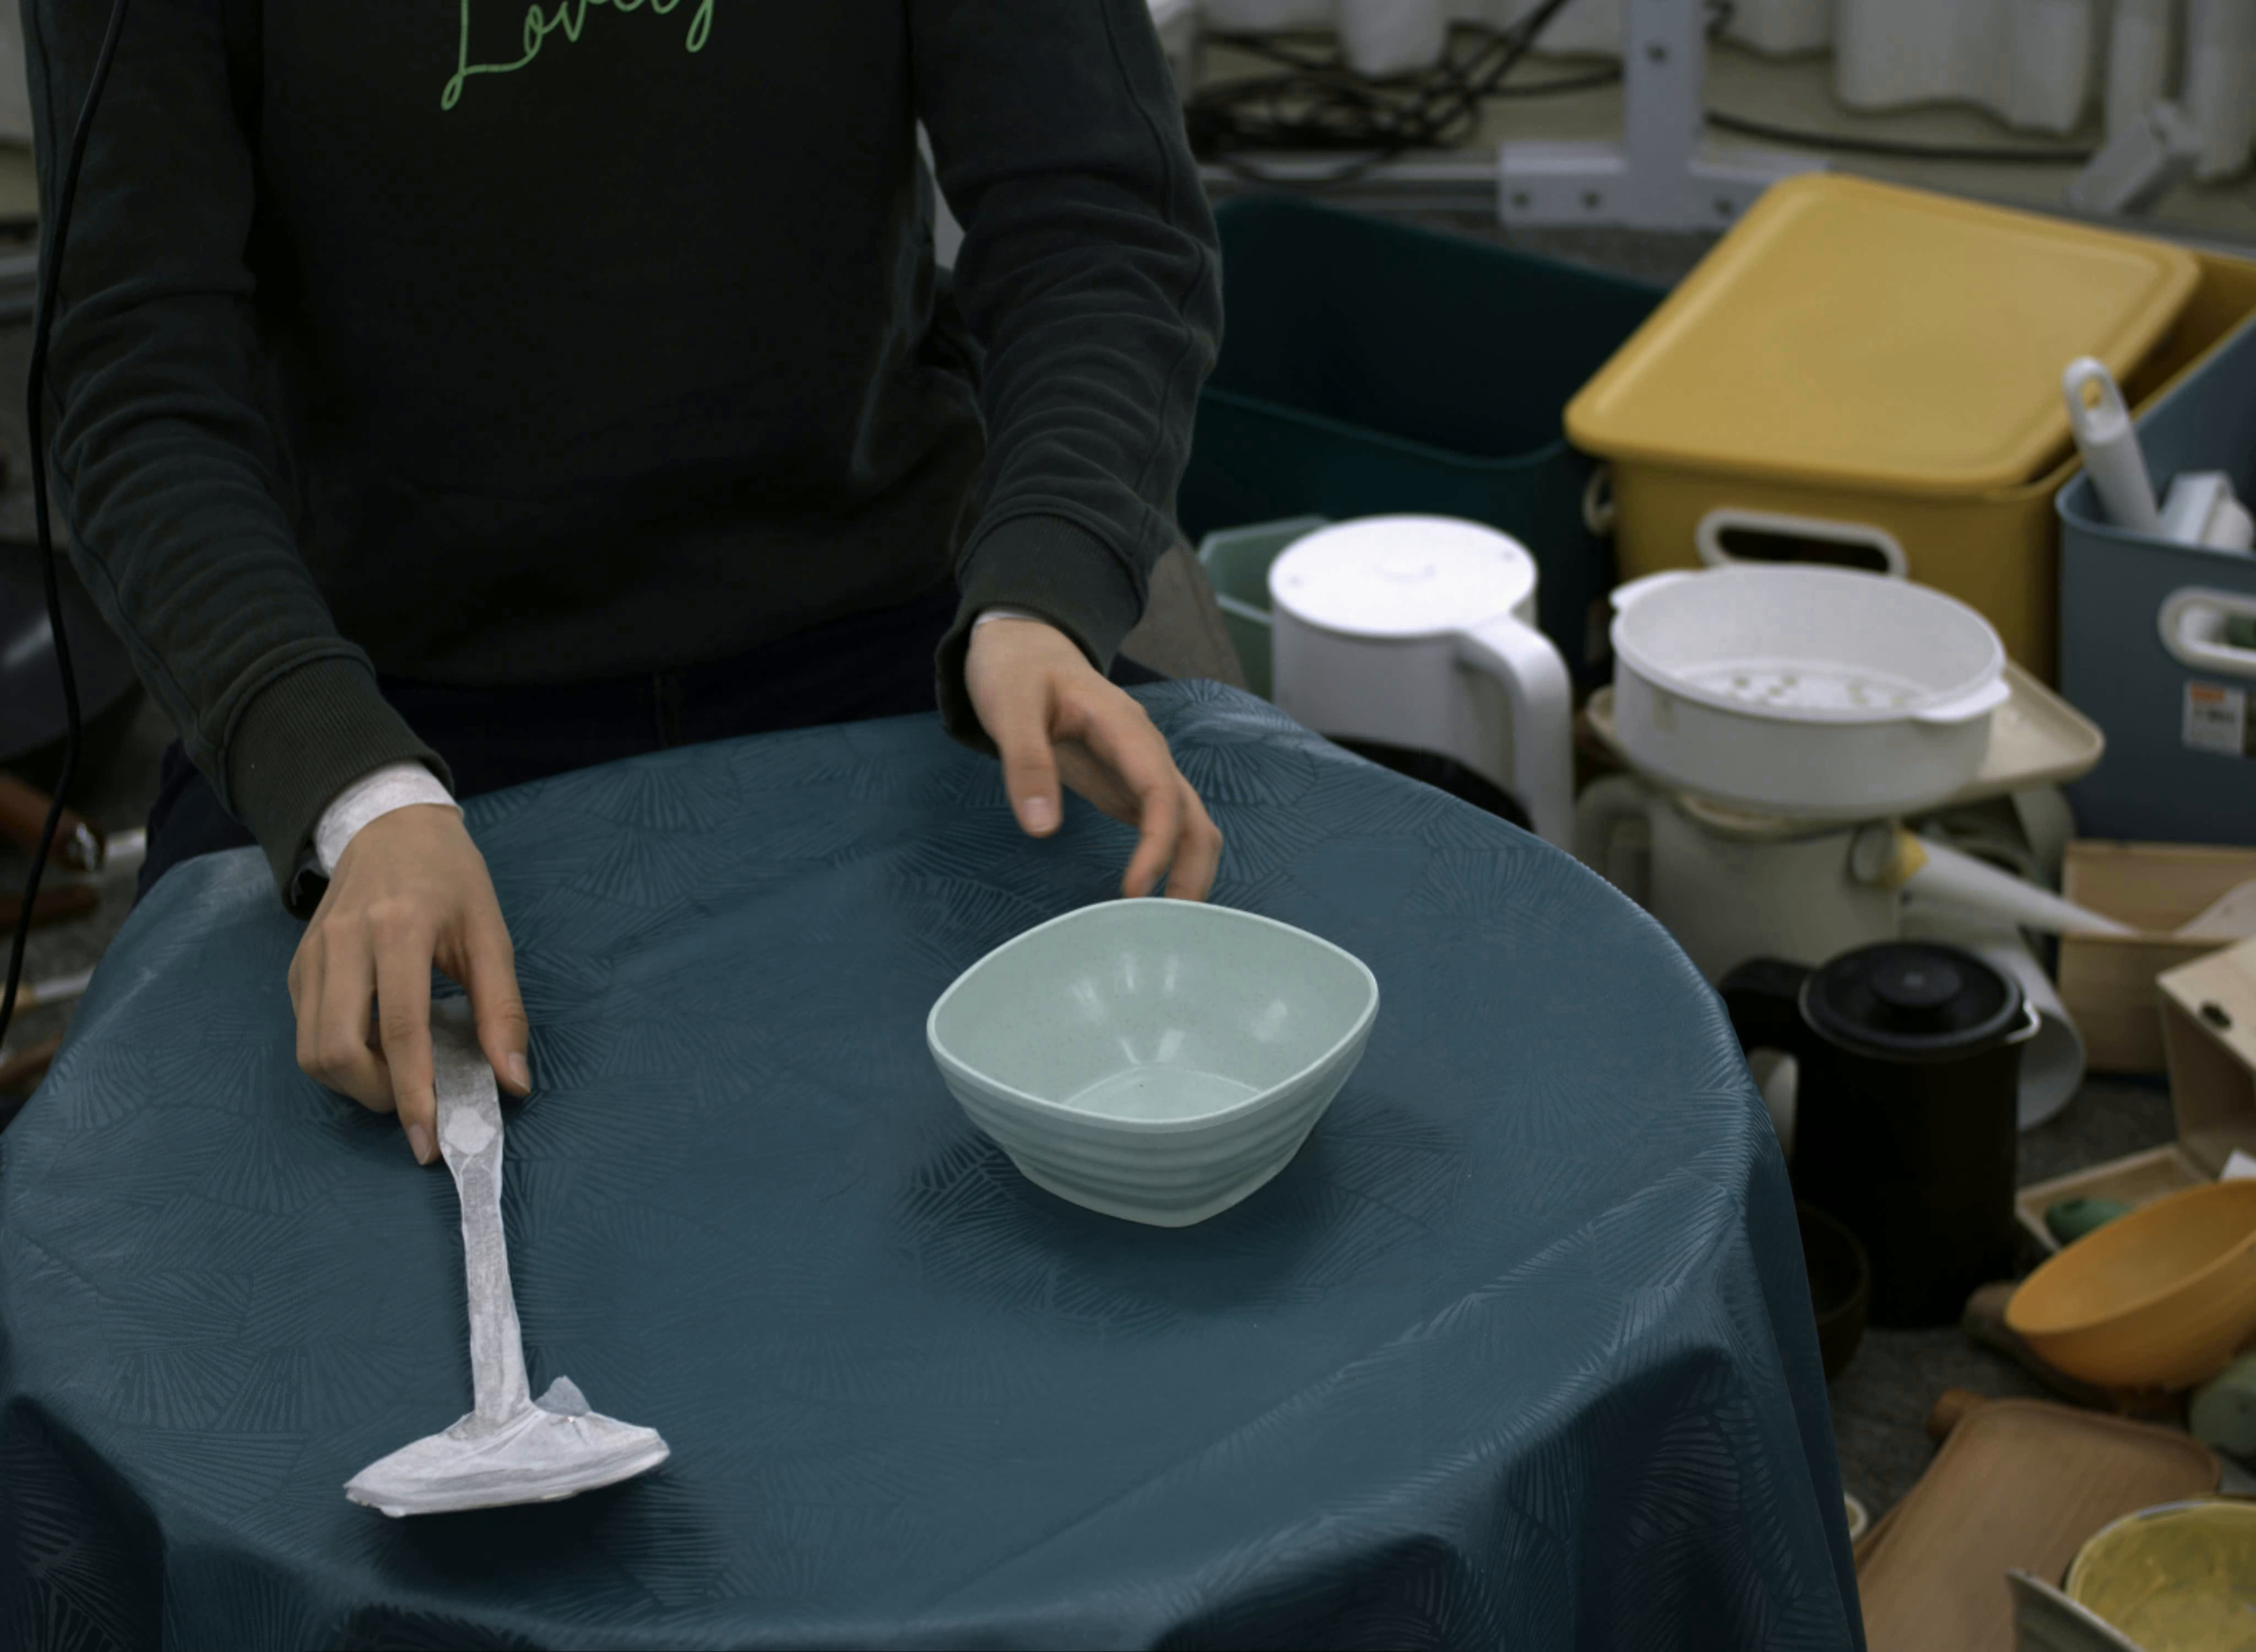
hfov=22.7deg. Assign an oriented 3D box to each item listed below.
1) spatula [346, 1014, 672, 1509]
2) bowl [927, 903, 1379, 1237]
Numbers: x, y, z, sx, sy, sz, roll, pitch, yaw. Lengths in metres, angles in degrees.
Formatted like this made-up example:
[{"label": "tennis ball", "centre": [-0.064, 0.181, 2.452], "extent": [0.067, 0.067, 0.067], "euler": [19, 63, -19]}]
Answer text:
[{"label": "spatula", "centre": [-0.205, 0.133, 1.818], "extent": [0.098, 0.044, 0.369], "euler": [-8, 28, -5]}, {"label": "bowl", "centre": [0.009, 0.087, 1.872], "extent": [0.151, 0.058, 0.154], "euler": [-1, 28, 1]}]
